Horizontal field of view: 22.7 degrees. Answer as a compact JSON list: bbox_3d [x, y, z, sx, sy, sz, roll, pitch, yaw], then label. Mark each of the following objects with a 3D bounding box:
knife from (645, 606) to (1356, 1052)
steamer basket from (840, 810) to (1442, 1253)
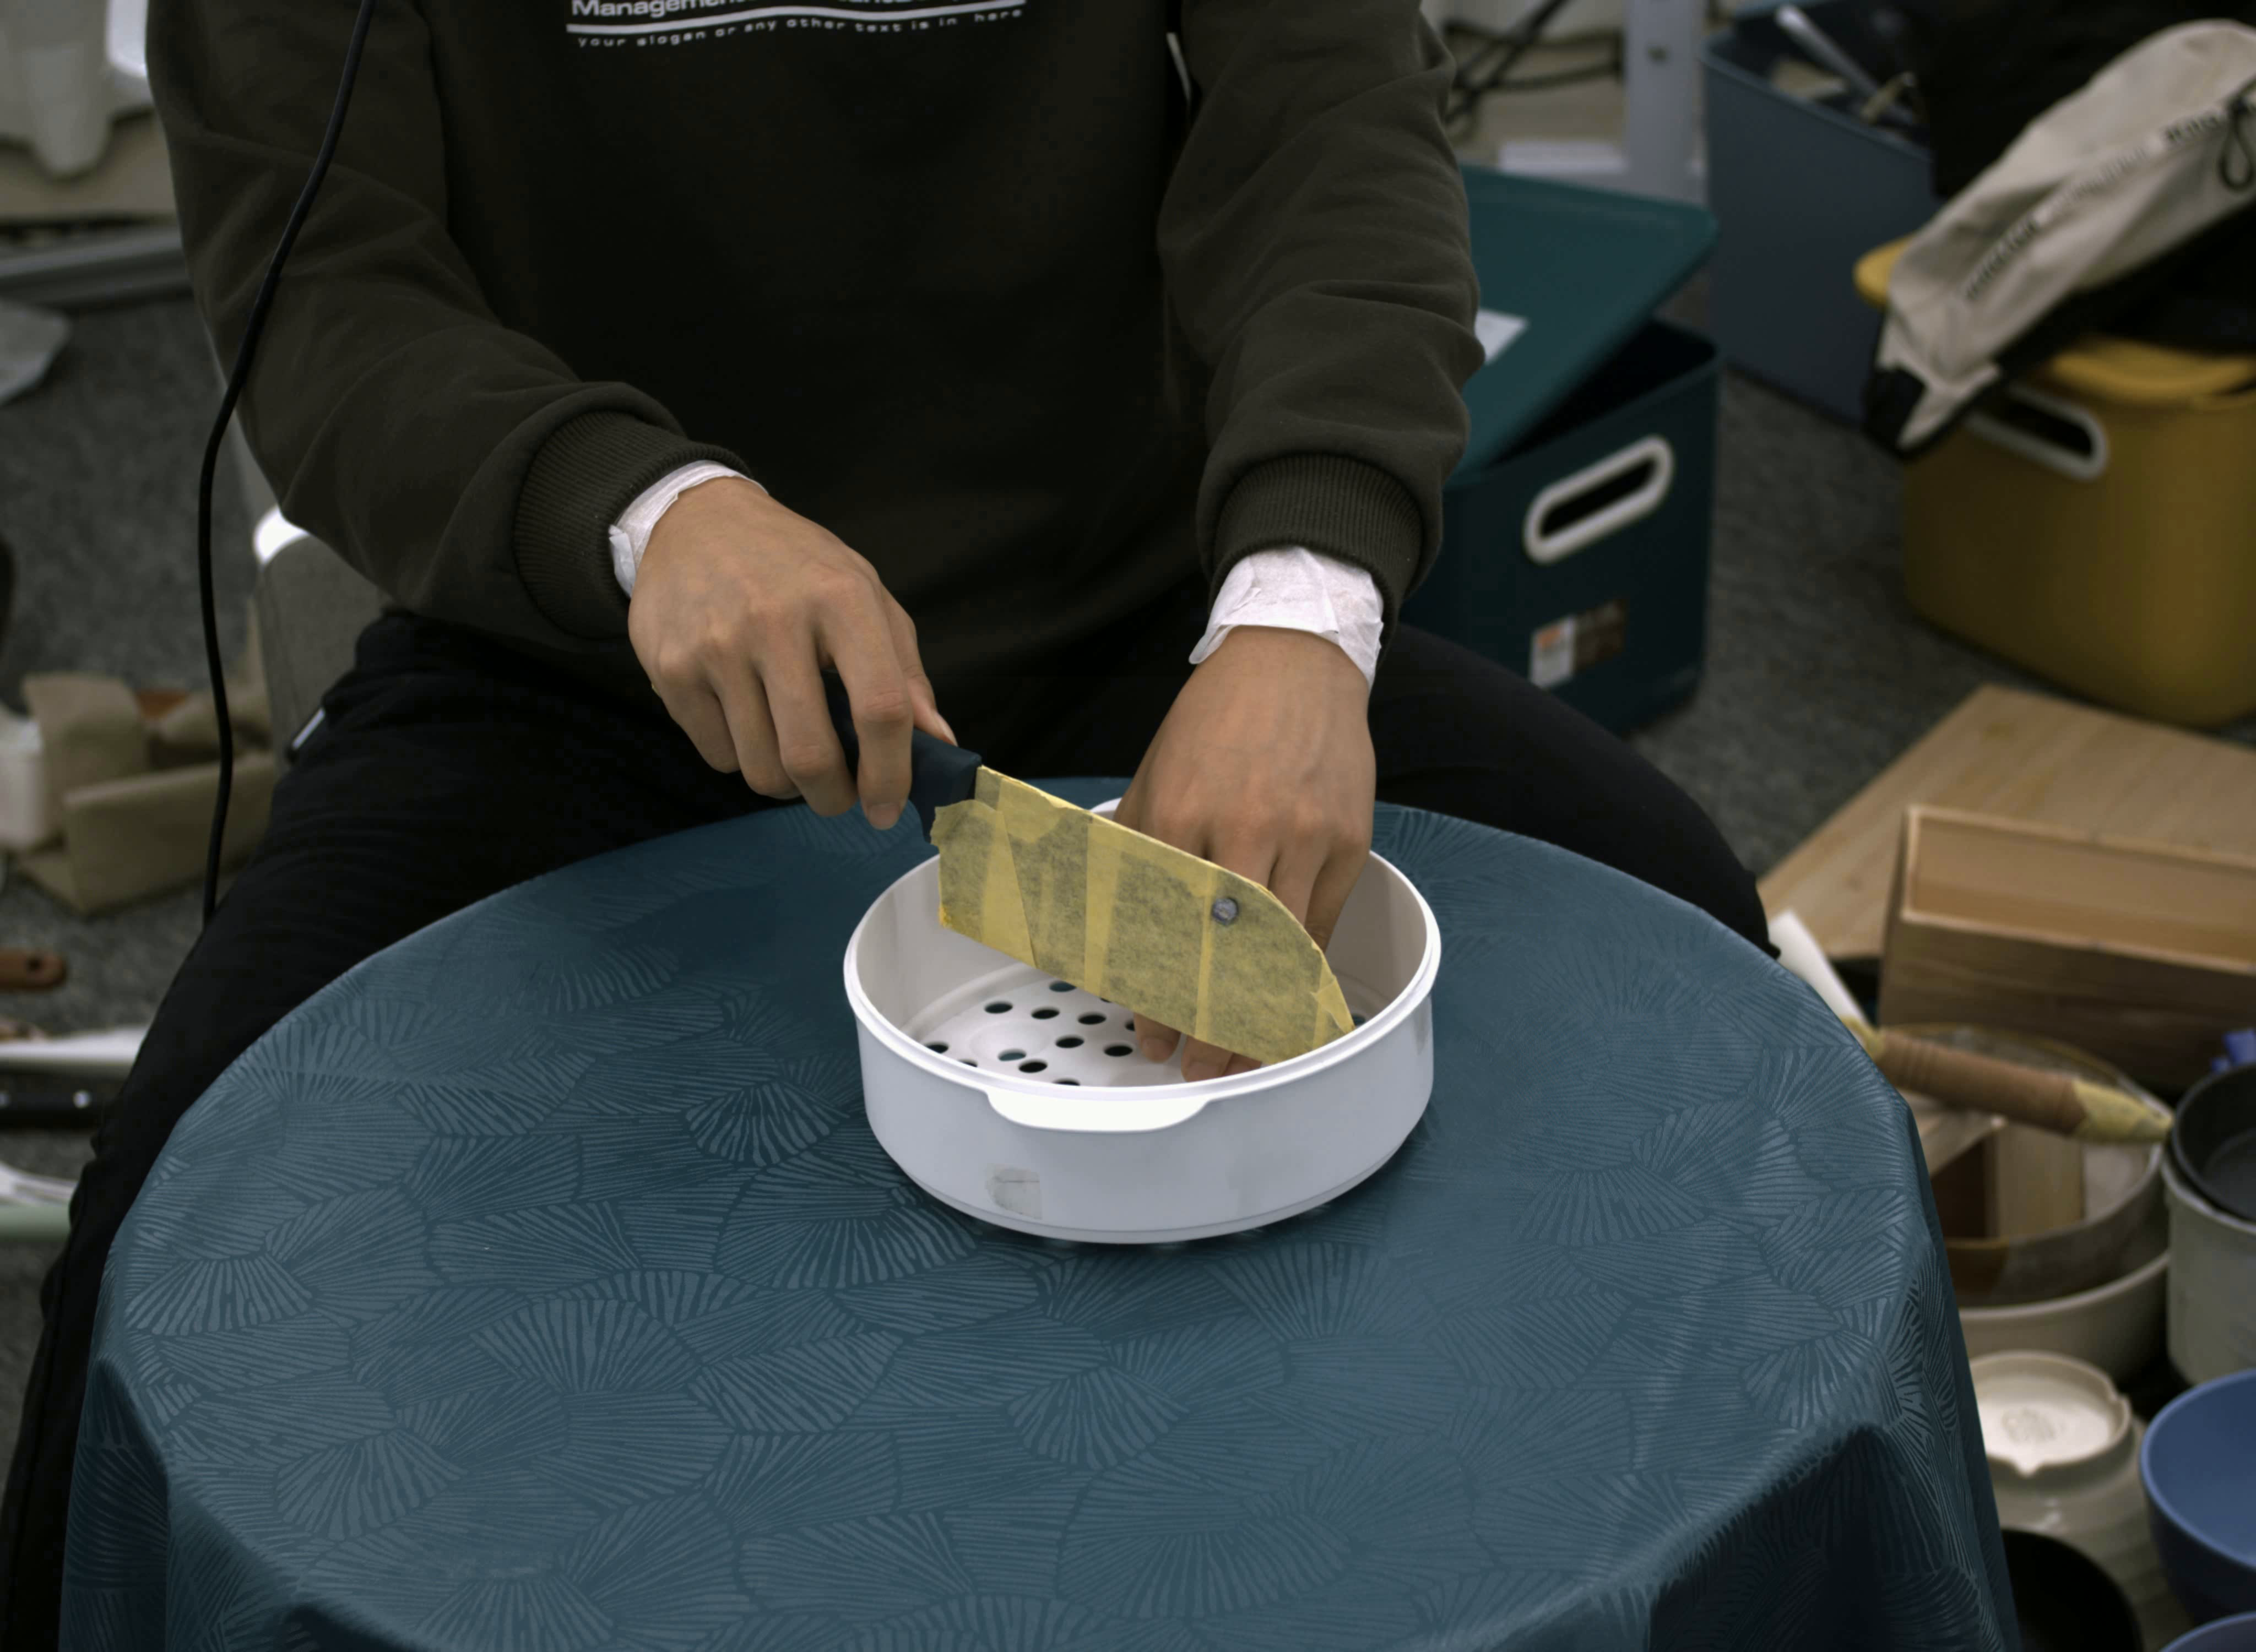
[{"bbox_3d":[-0.043,0.003,1.876,0.289,0.079,0.027,29,53,20],"label":"knife"},{"bbox_3d":[0.005,0.070,1.888,0.200,0.068,0.234,3,26,9],"label":"steamer basket"}]
